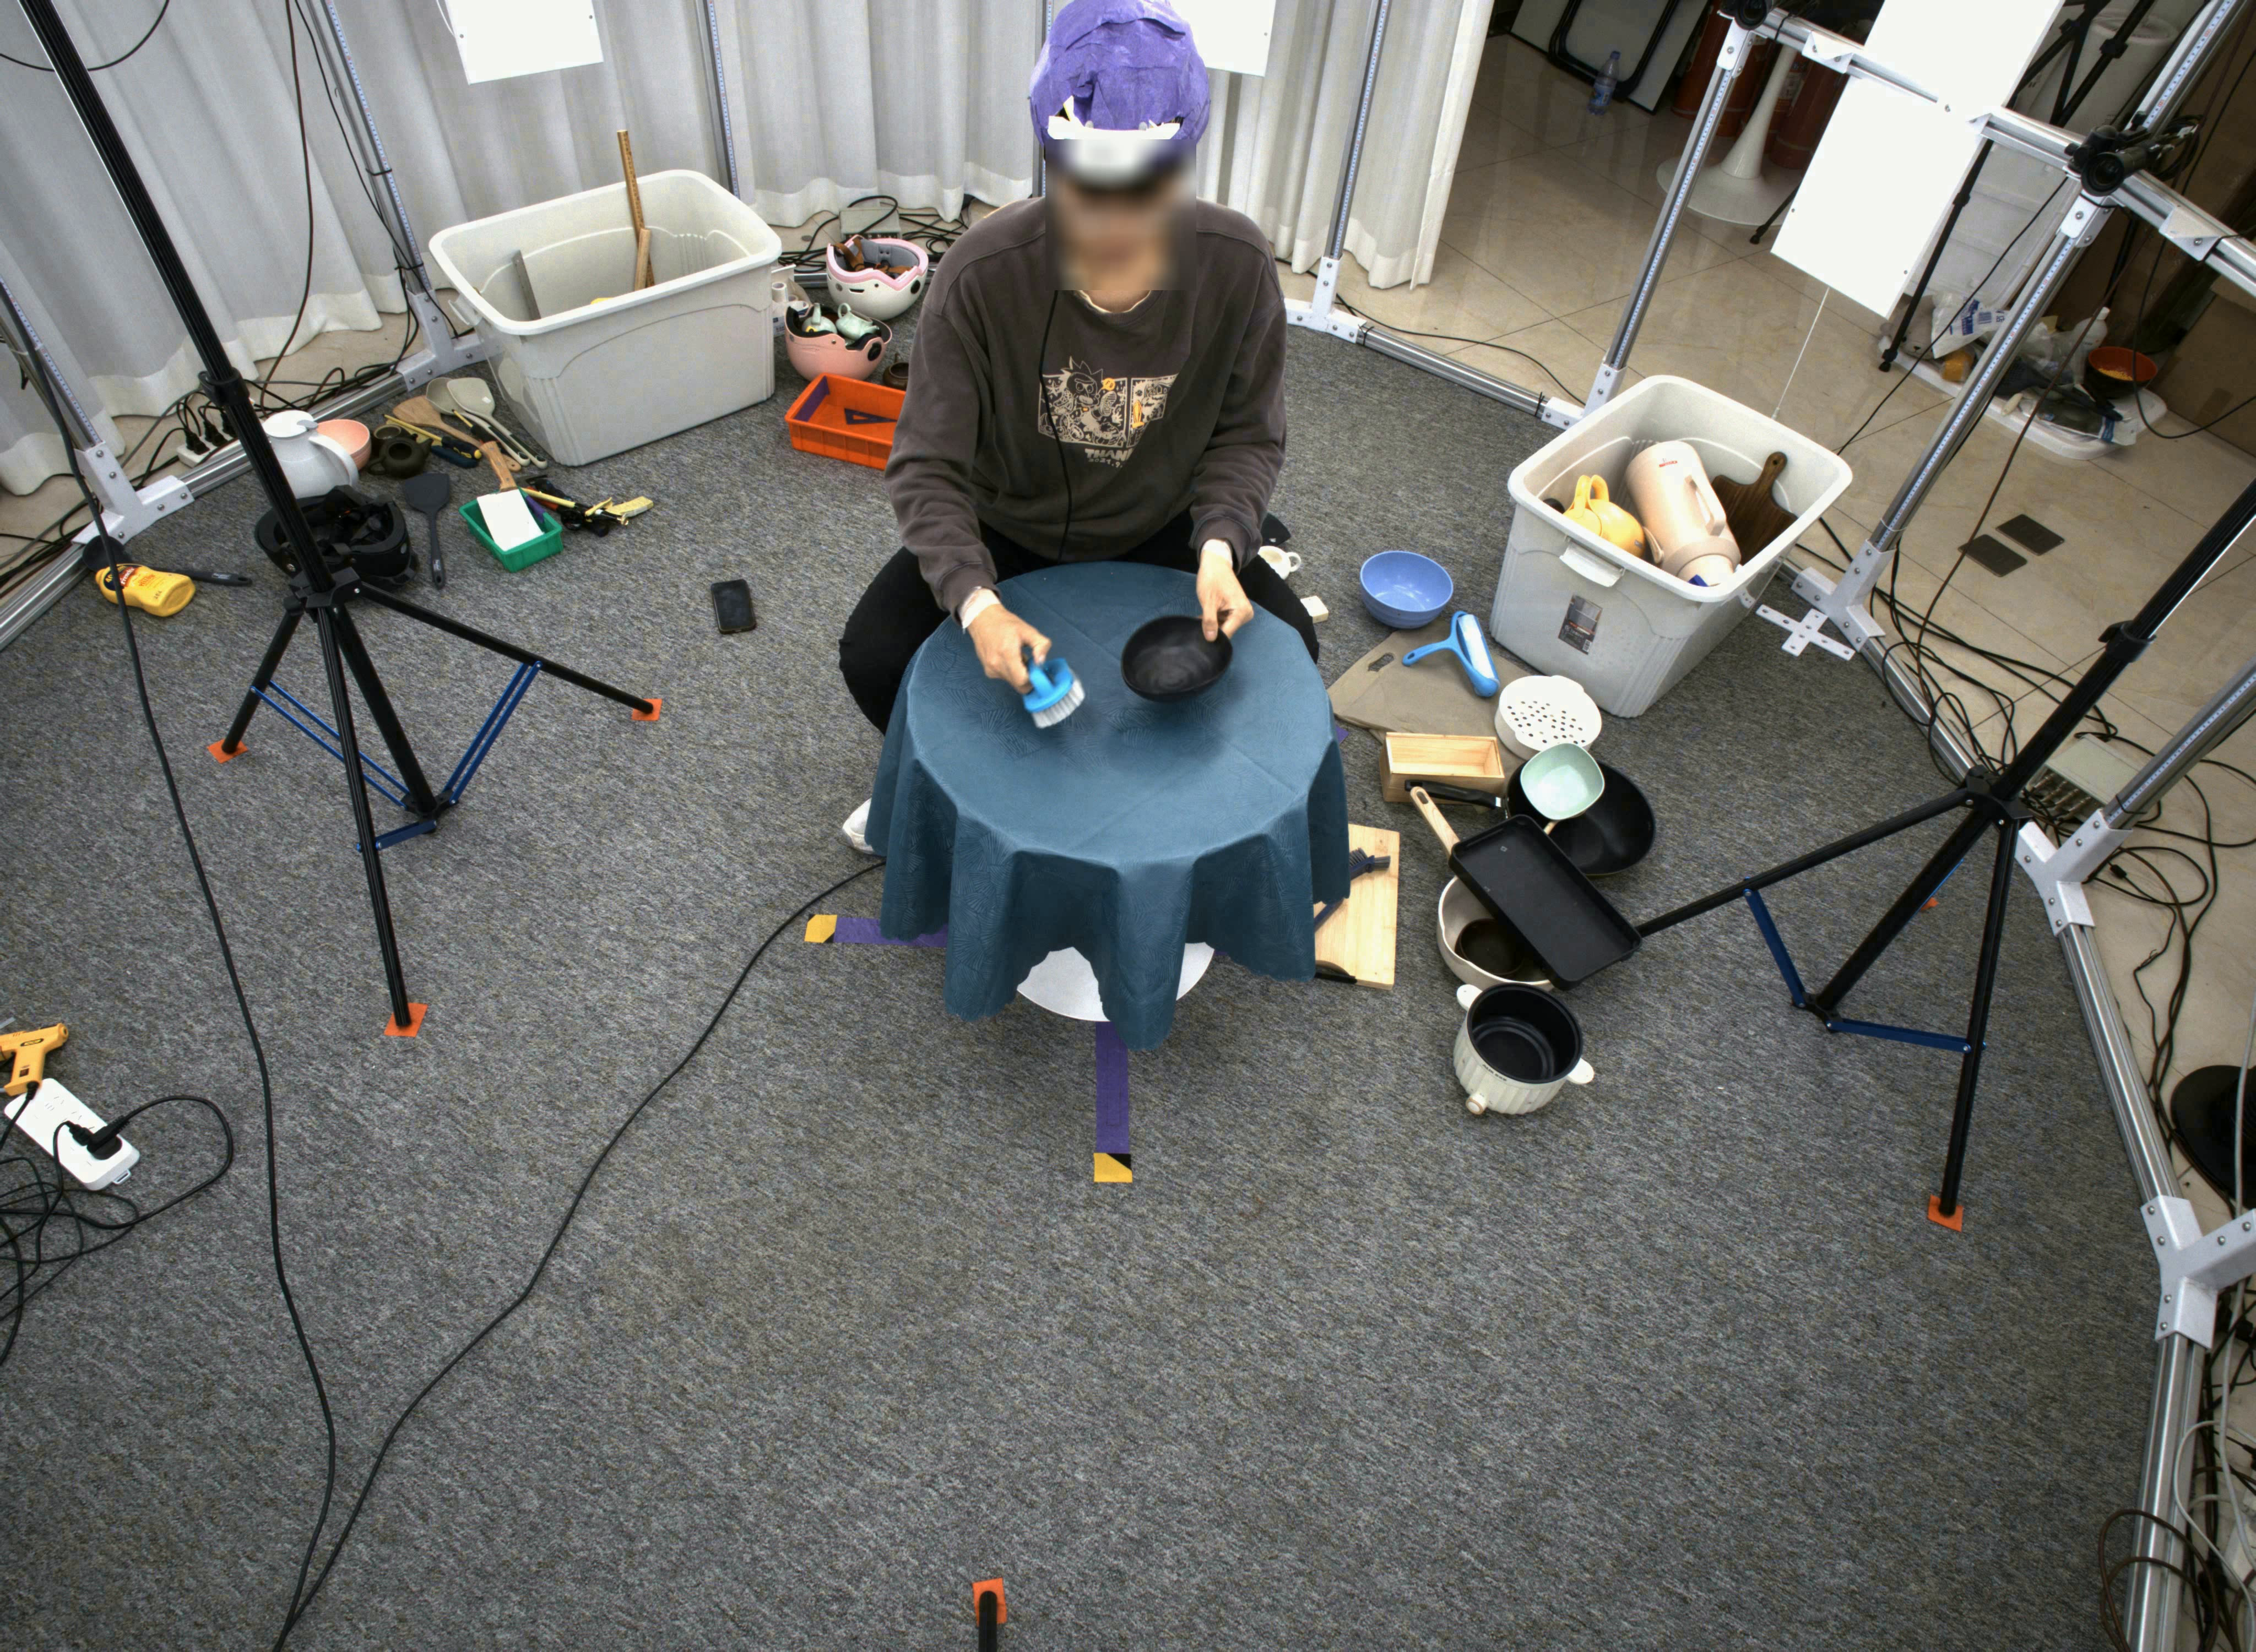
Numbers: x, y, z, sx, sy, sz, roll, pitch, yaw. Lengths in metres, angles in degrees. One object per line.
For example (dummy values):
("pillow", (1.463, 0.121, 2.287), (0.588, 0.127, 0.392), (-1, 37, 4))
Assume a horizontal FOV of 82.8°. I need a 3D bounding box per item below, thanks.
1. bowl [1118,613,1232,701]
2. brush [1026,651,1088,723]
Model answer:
("bowl", (0.064, -0.220, 1.771), (0.171, 0.065, 0.139), (-34, 60, -28))
("brush", (-0.106, -0.199, 1.731), (0.084, 0.063, 0.144), (-36, 24, 11))
